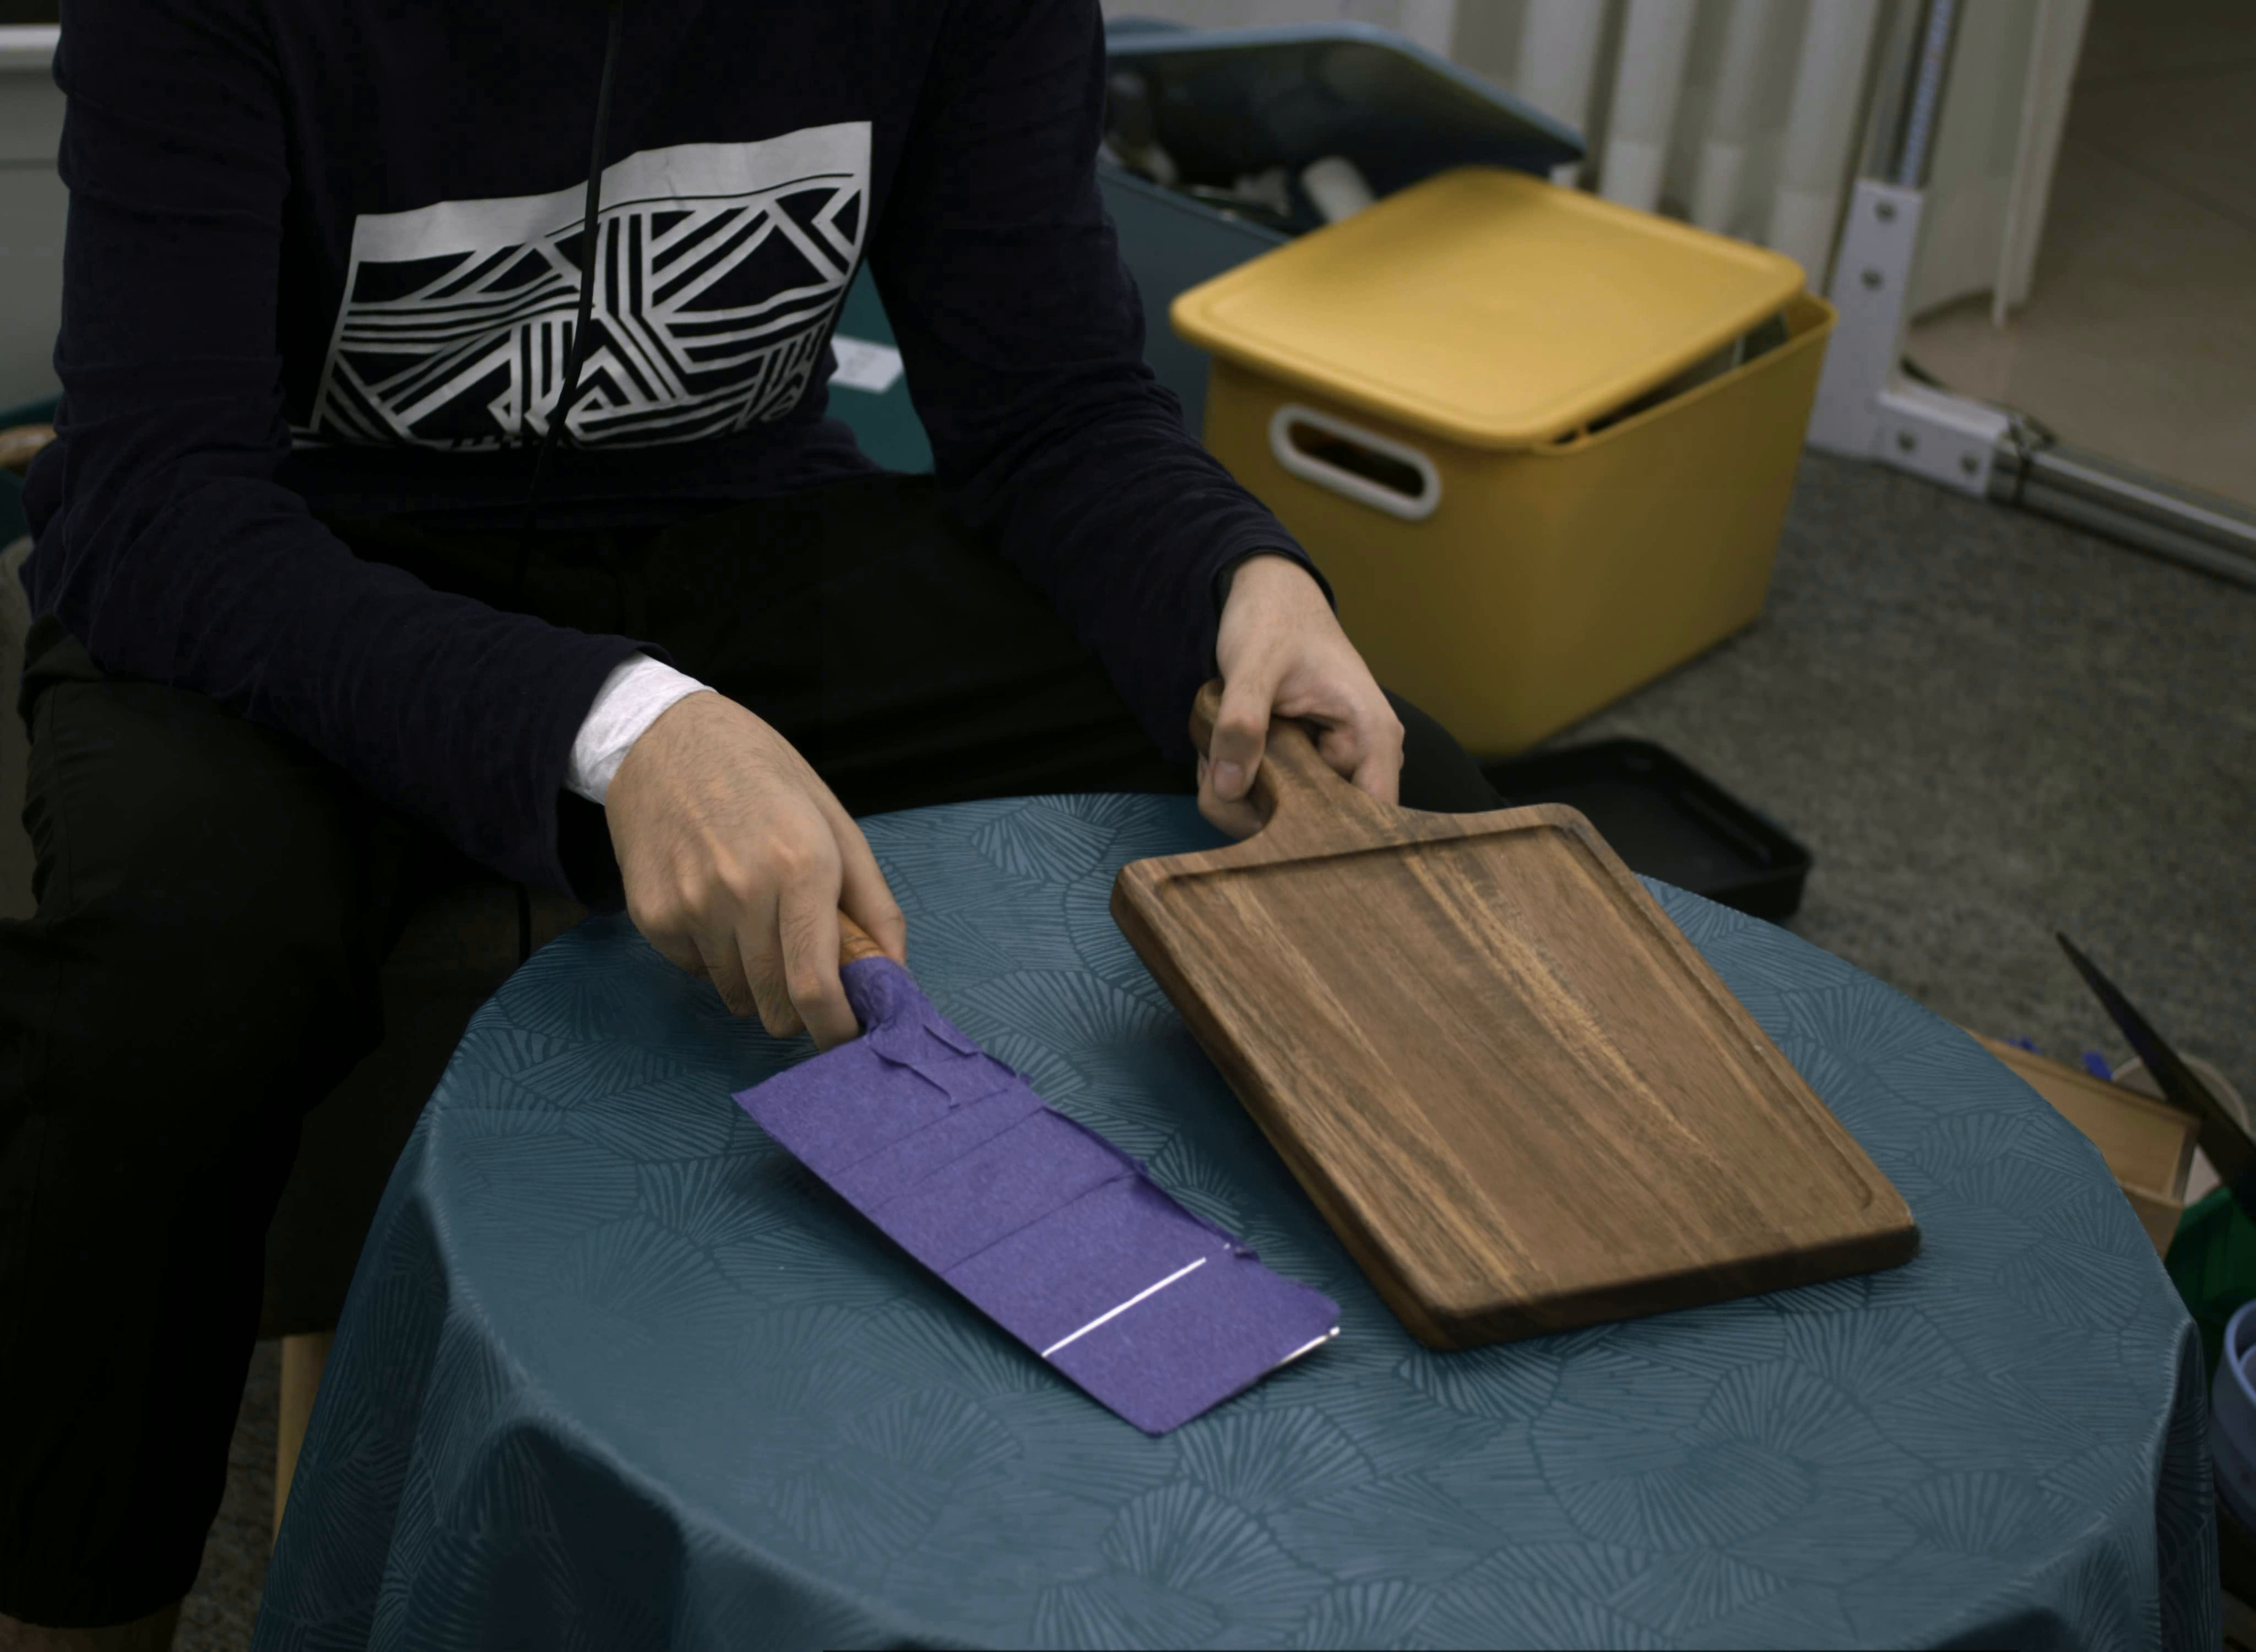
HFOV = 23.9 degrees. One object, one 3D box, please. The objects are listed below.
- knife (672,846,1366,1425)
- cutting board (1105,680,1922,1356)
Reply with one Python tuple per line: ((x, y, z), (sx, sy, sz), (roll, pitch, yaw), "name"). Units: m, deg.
((-0.064, 0.099, 1.781), (0.103, 0.032, 0.318), (-23, 43, -39), "knife")
((0.110, 0.054, 1.887), (0.200, 0.023, 0.355), (-8, 39, -26), "cutting board")
